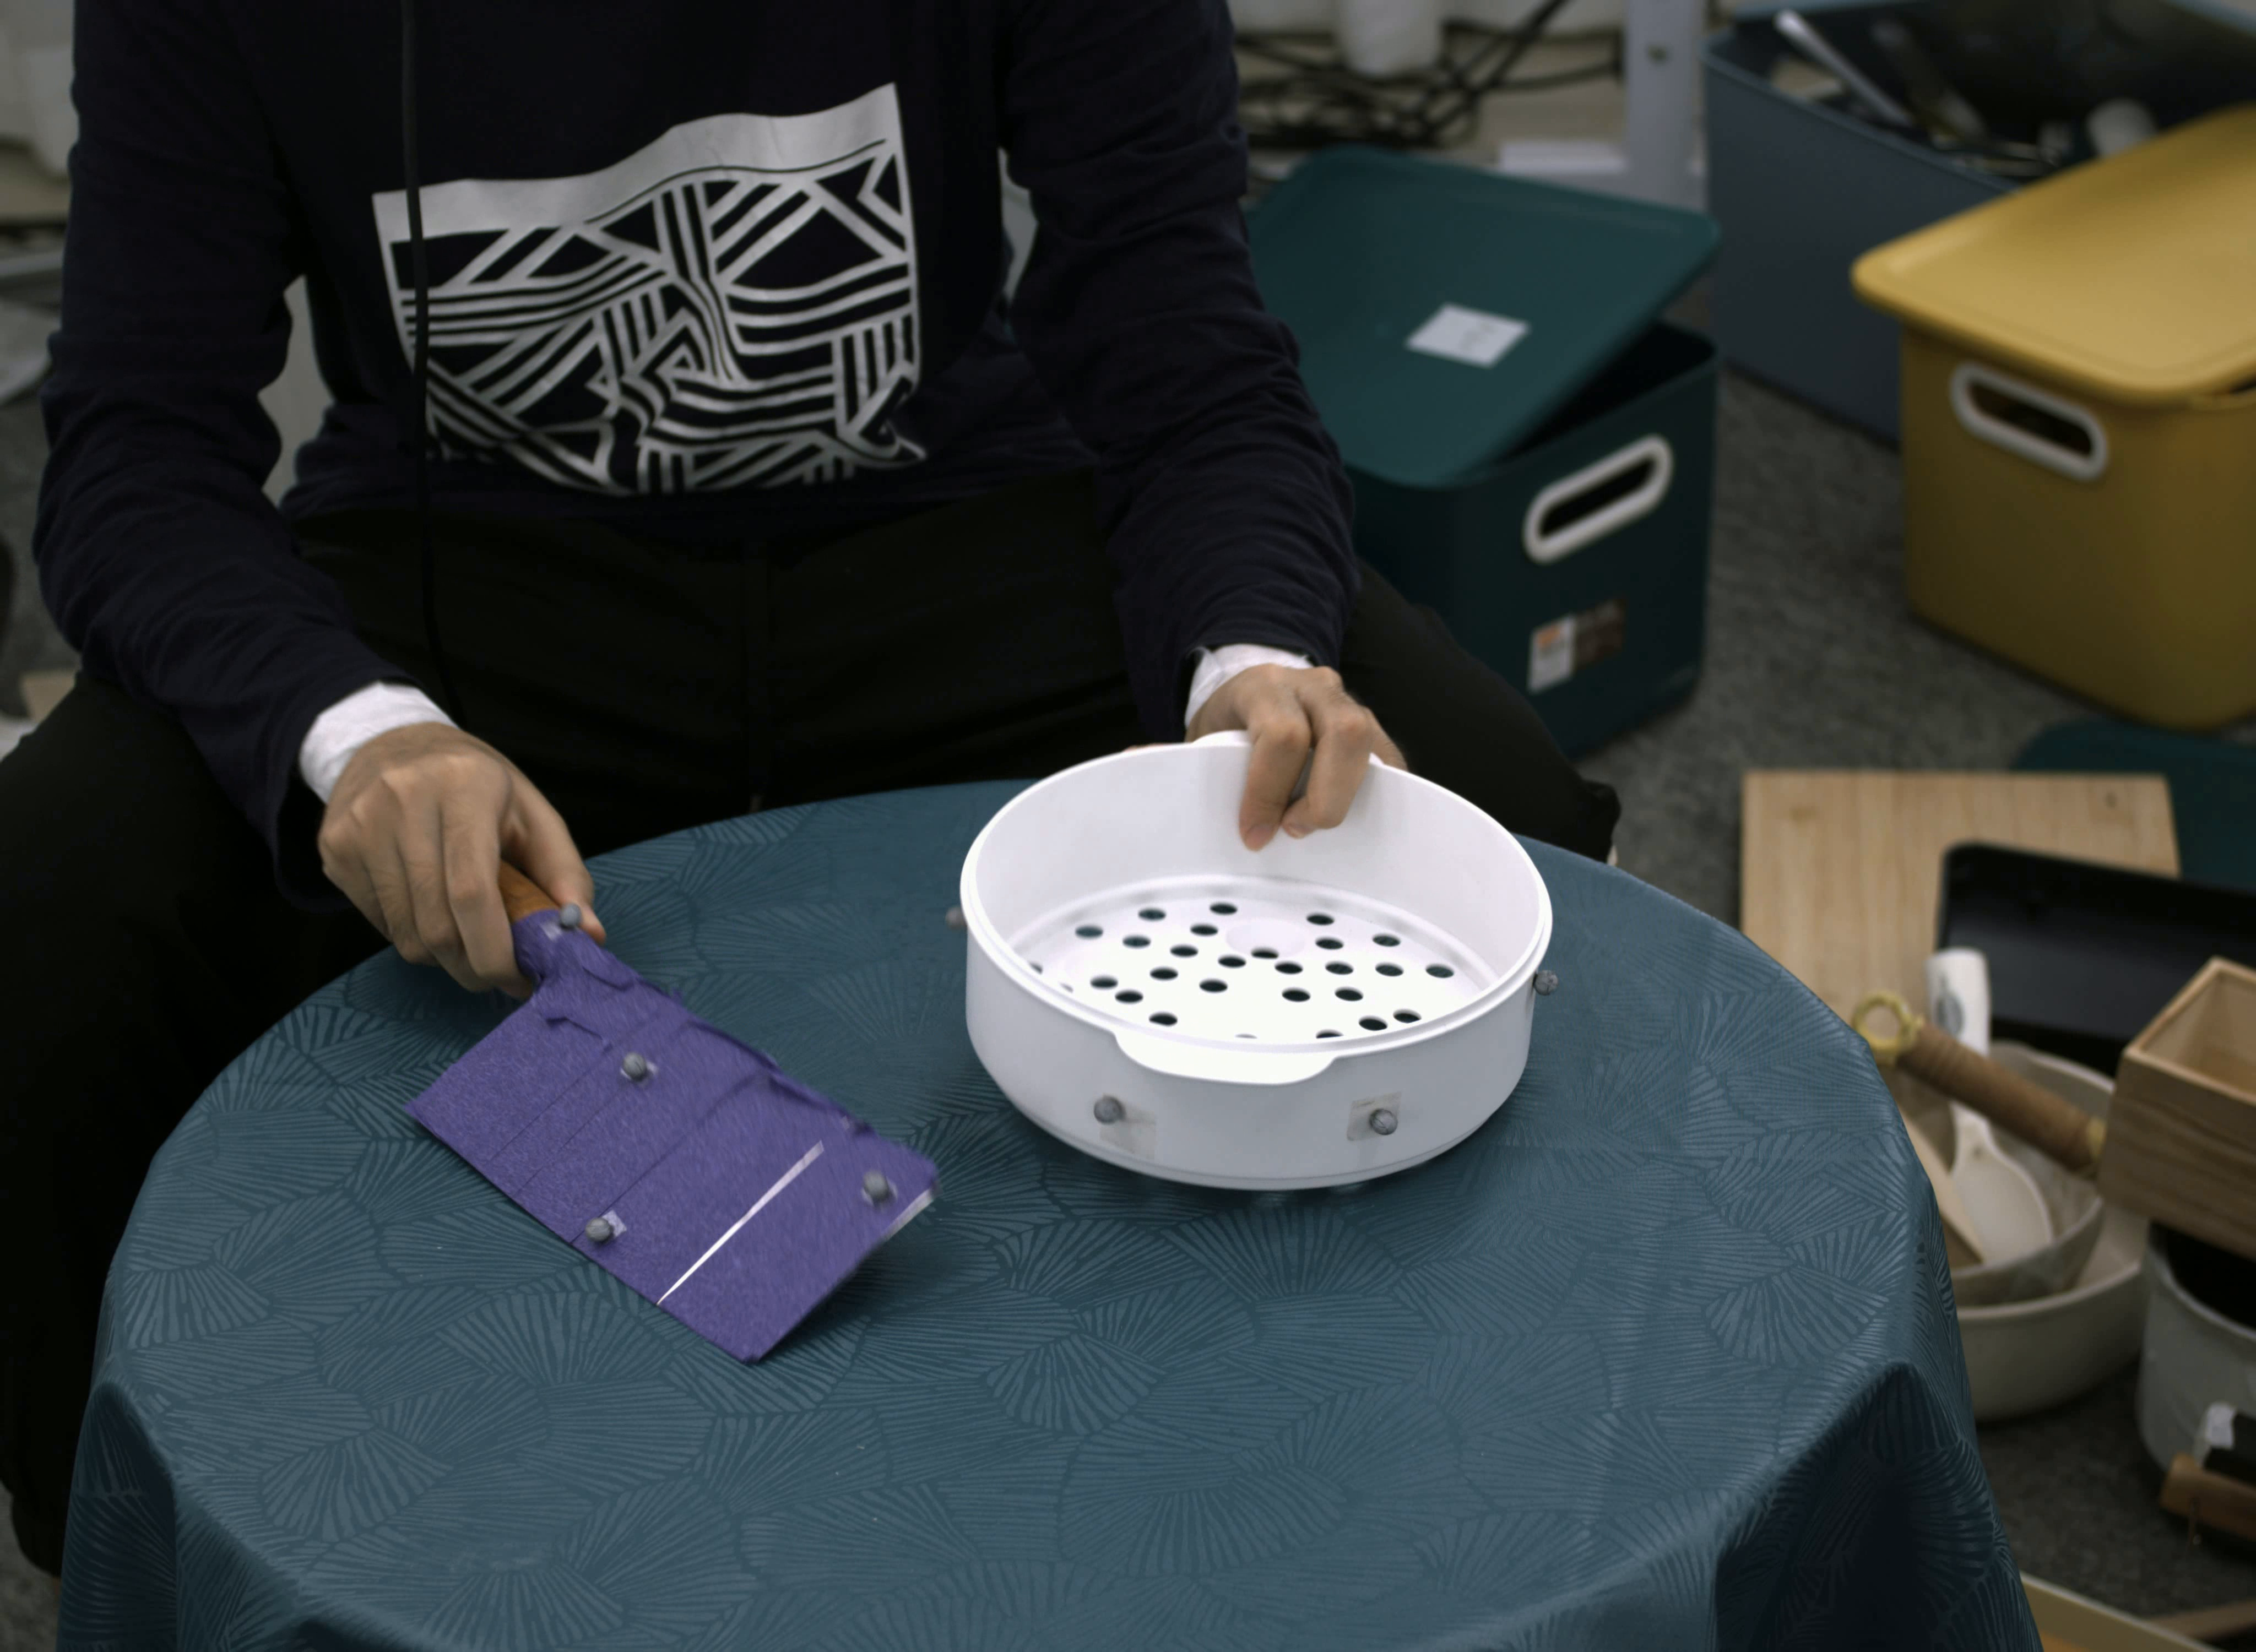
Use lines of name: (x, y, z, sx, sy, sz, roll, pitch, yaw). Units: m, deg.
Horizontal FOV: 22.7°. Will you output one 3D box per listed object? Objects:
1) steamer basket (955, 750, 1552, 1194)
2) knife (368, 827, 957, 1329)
steamer basket: (0.041, 0.051, 1.908, 0.201, 0.068, 0.234, 9, 27, 4)
knife: (-0.185, 0.082, 1.896, 0.105, 0.032, 0.315, -44, 40, -18)
